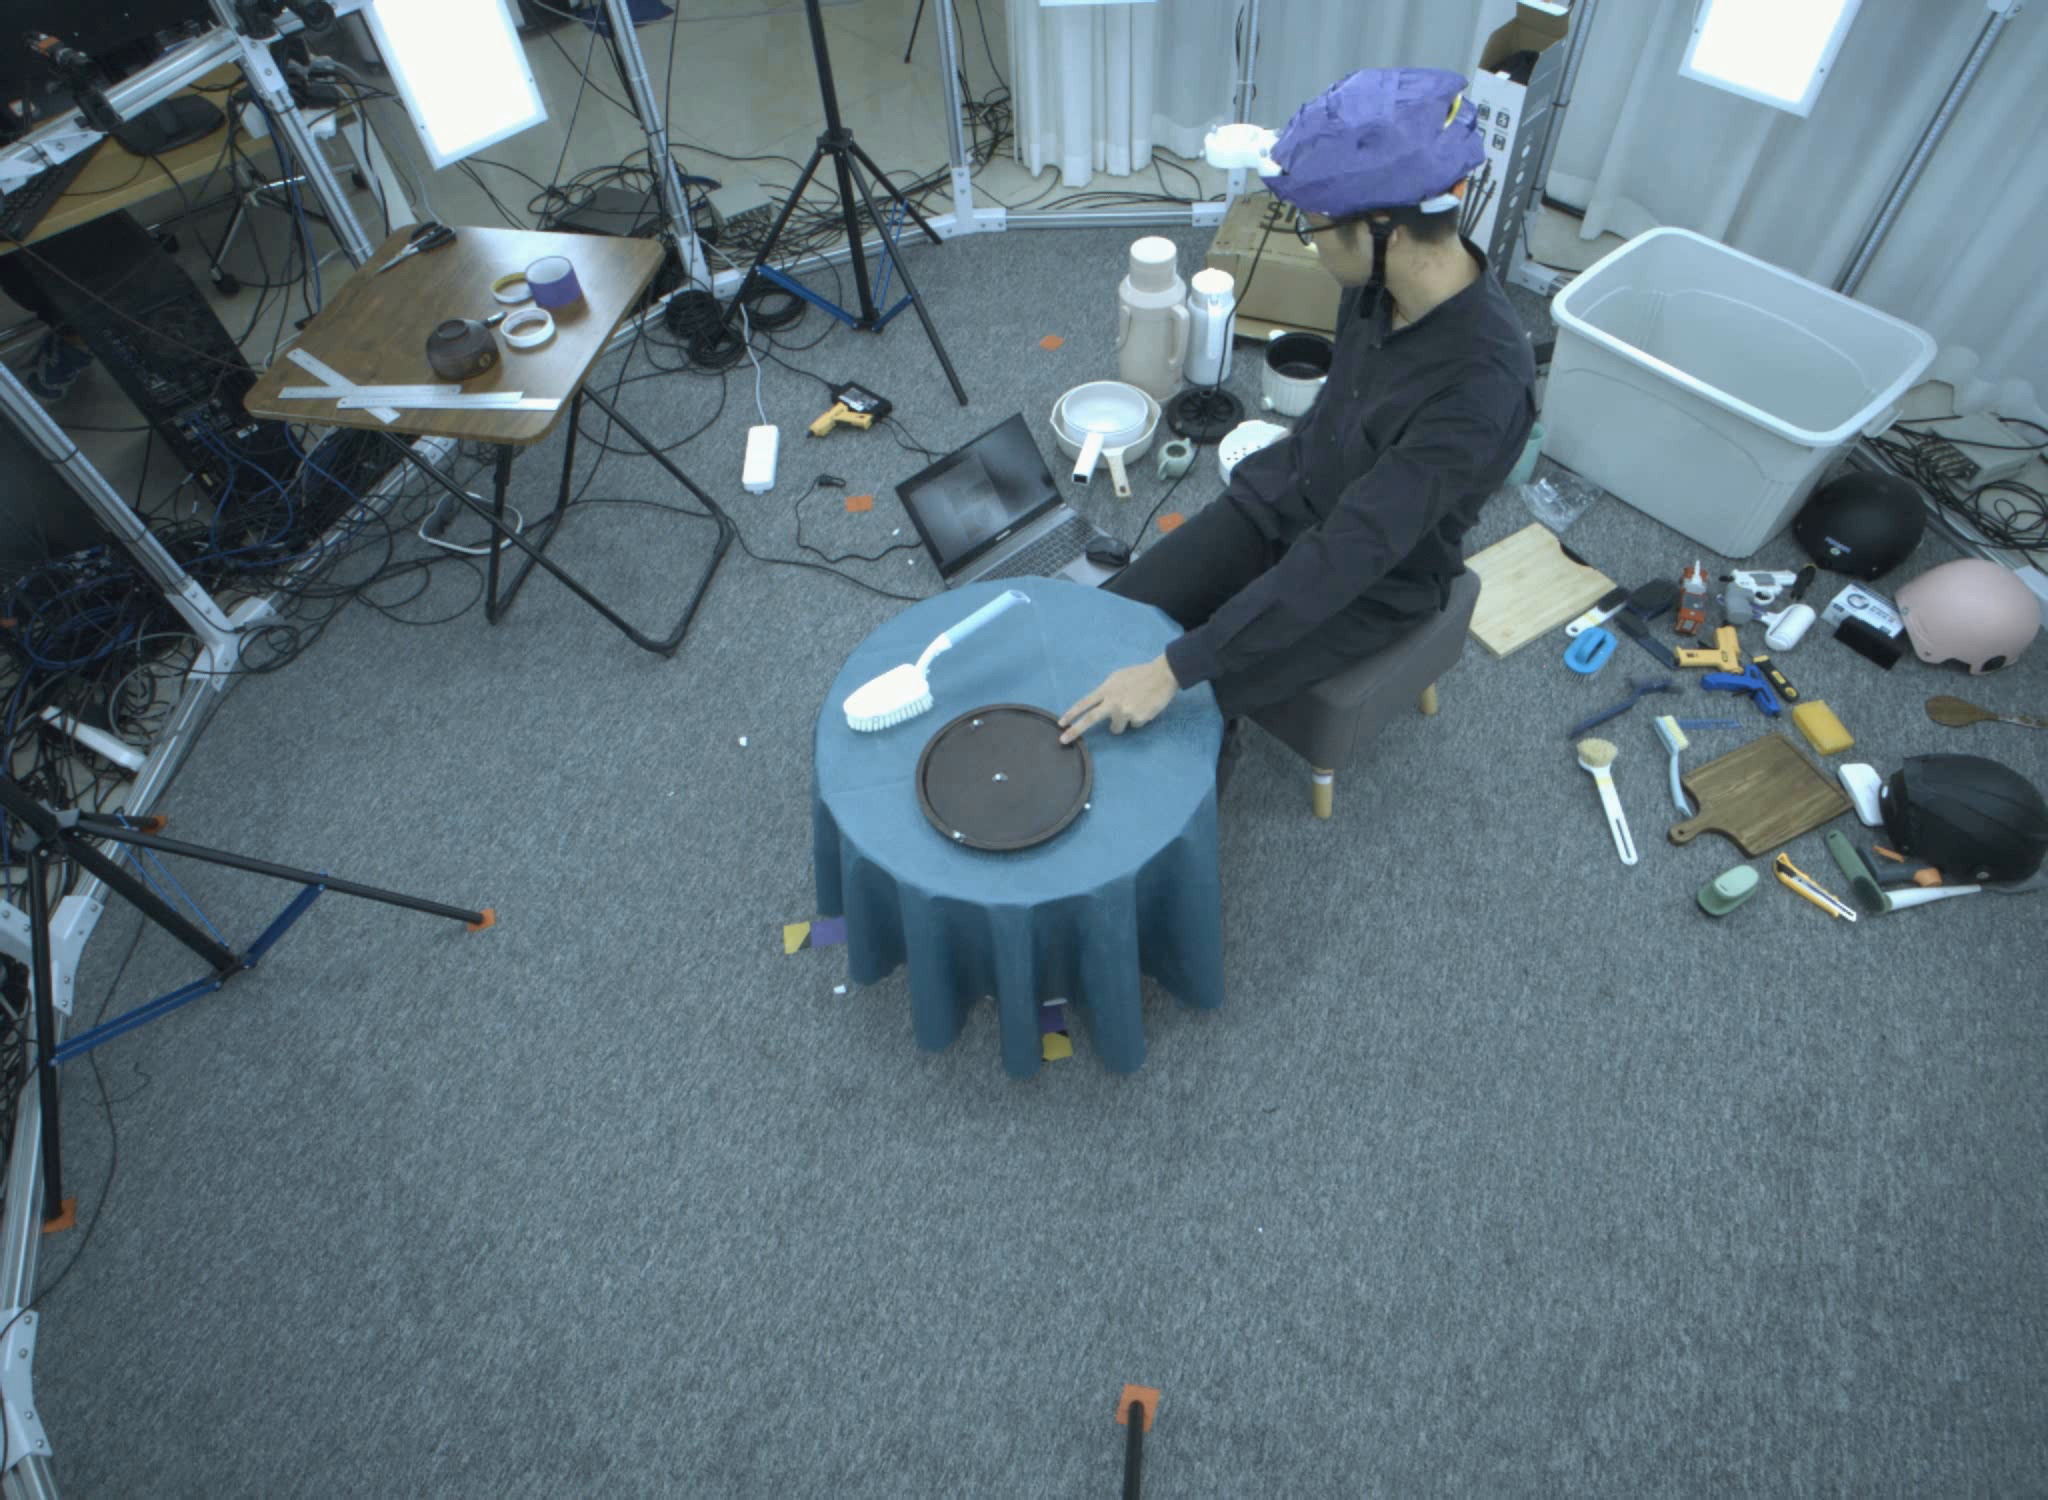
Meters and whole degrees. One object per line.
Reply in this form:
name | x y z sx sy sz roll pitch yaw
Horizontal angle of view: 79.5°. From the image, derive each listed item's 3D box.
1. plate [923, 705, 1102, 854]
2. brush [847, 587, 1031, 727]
plate | -0.017 0.040 1.743 0.254 0.029 0.252 -1 53 3
brush | -0.118 -0.129 1.832 0.326 0.084 0.083 -34 96 -6
